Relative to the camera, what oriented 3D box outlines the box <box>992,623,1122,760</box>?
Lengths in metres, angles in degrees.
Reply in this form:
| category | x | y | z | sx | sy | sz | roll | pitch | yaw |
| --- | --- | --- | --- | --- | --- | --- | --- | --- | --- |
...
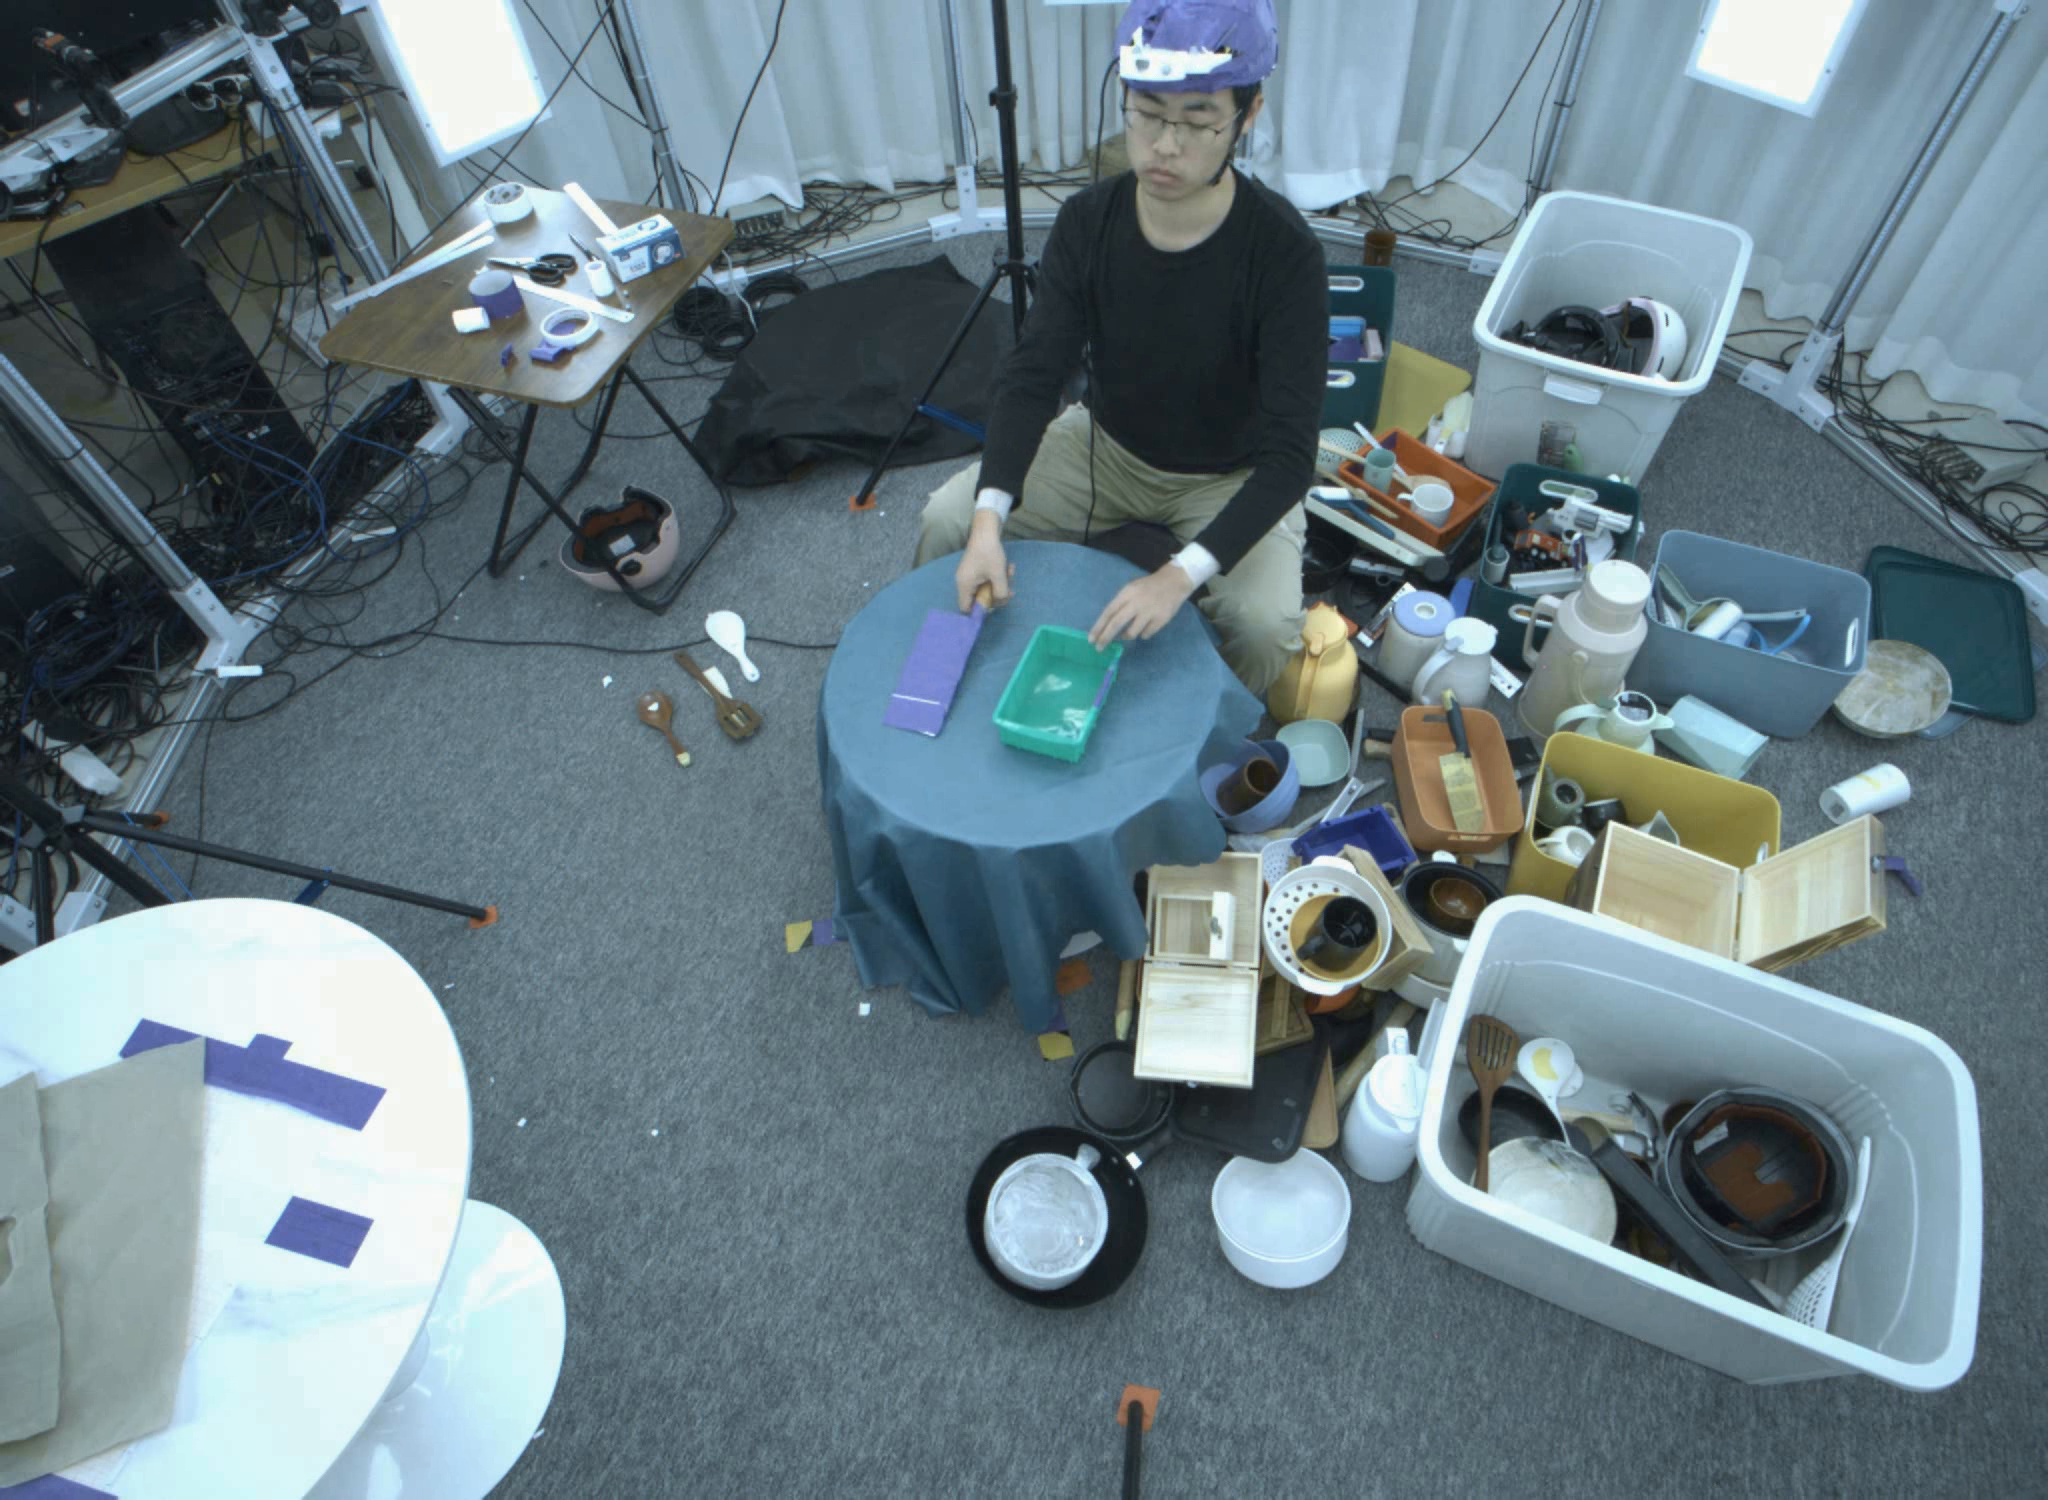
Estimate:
| category | x | y | z | sx | sy | sz | roll | pitch | yaw |
| --- | --- | --- | --- | --- | --- | --- | --- | --- | --- |
| box | 0.051 | -0.085 | 1.808 | 0.137 | 0.066 | 0.210 | 16 | 55 | 12 |

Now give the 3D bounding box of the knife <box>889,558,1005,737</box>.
| category | x | y | z | sx | sy | sz | roll | pitch | yaw |
| --- | --- | --- | --- | --- | --- | --- | --- | --- | --- |
| knife | -0.120 | -0.165 | 1.862 | 0.103 | 0.032 | 0.314 | 14 | 66 | 13 |
